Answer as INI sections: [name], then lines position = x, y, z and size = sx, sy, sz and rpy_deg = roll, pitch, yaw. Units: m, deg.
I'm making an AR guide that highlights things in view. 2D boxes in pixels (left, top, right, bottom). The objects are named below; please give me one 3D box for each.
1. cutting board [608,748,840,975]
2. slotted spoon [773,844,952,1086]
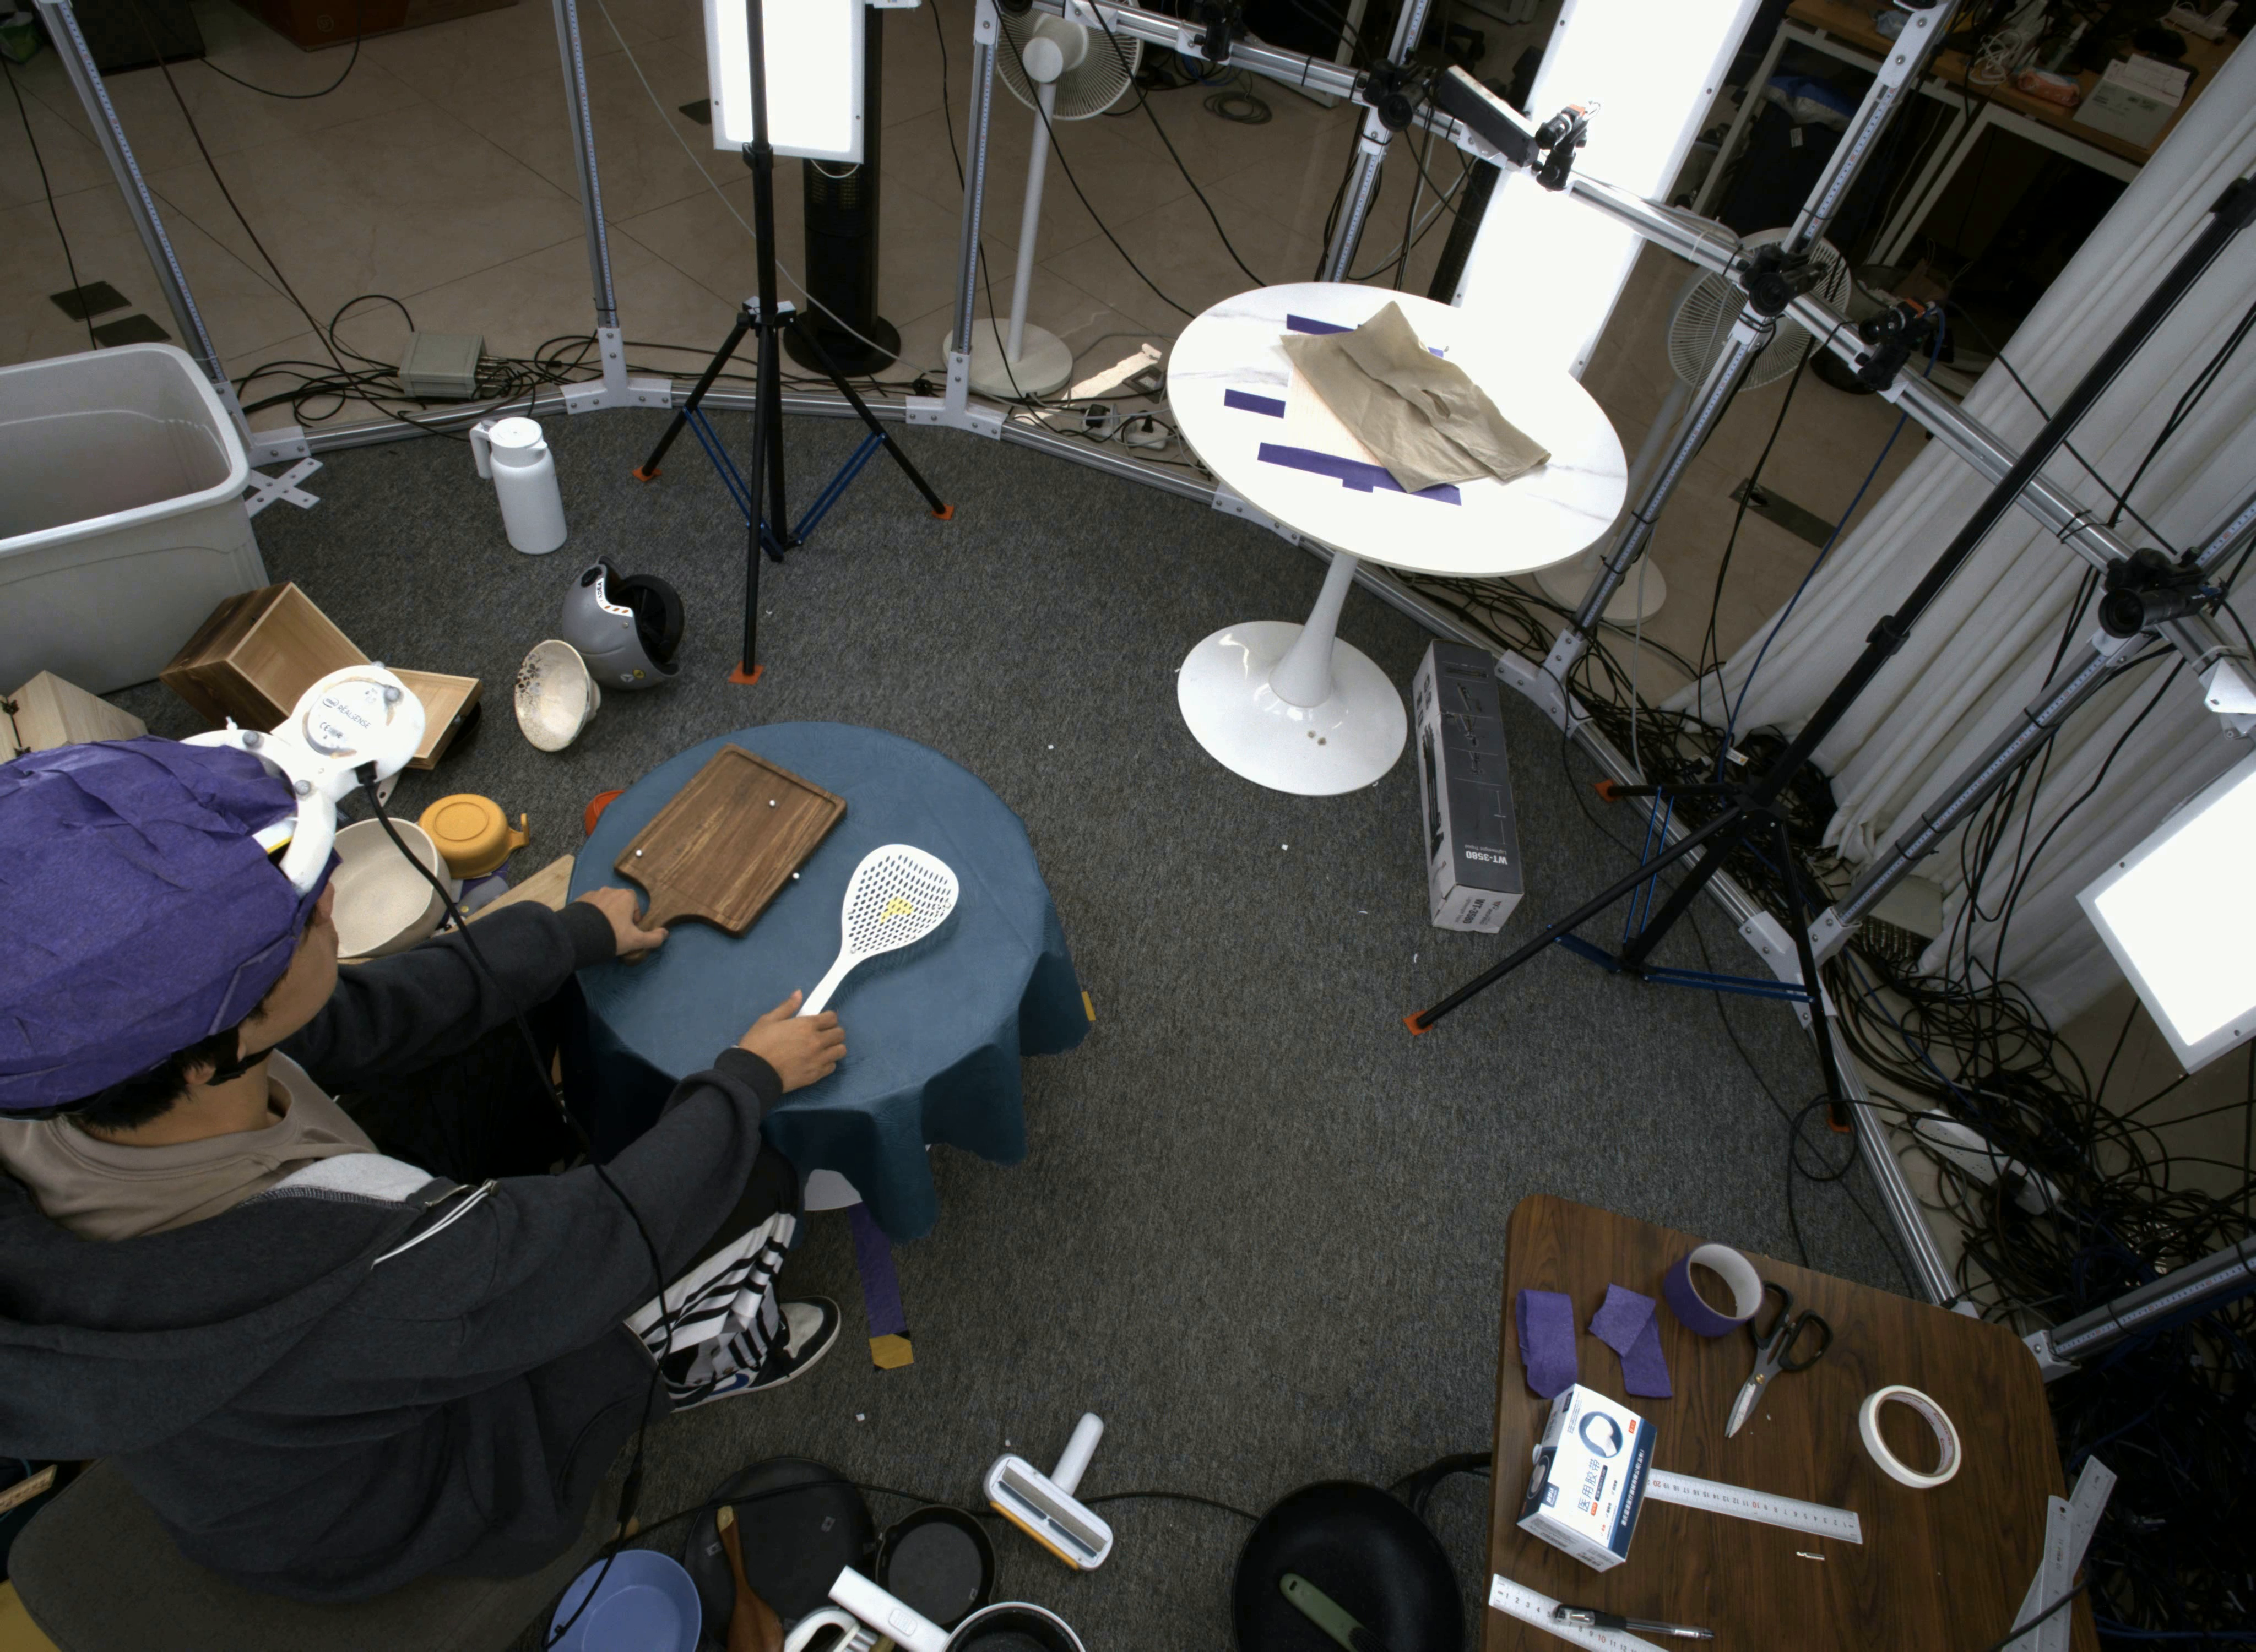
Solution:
[cutting board]
position = -0.543, 0.051, 1.647
size = 0.198, 0.023, 0.350
rpy_deg = 26, 52, 6
[slotted spoon]
position = -0.343, 0.165, 1.600
size = 0.135, 0.051, 0.346
rpy_deg = 28, 52, 4
